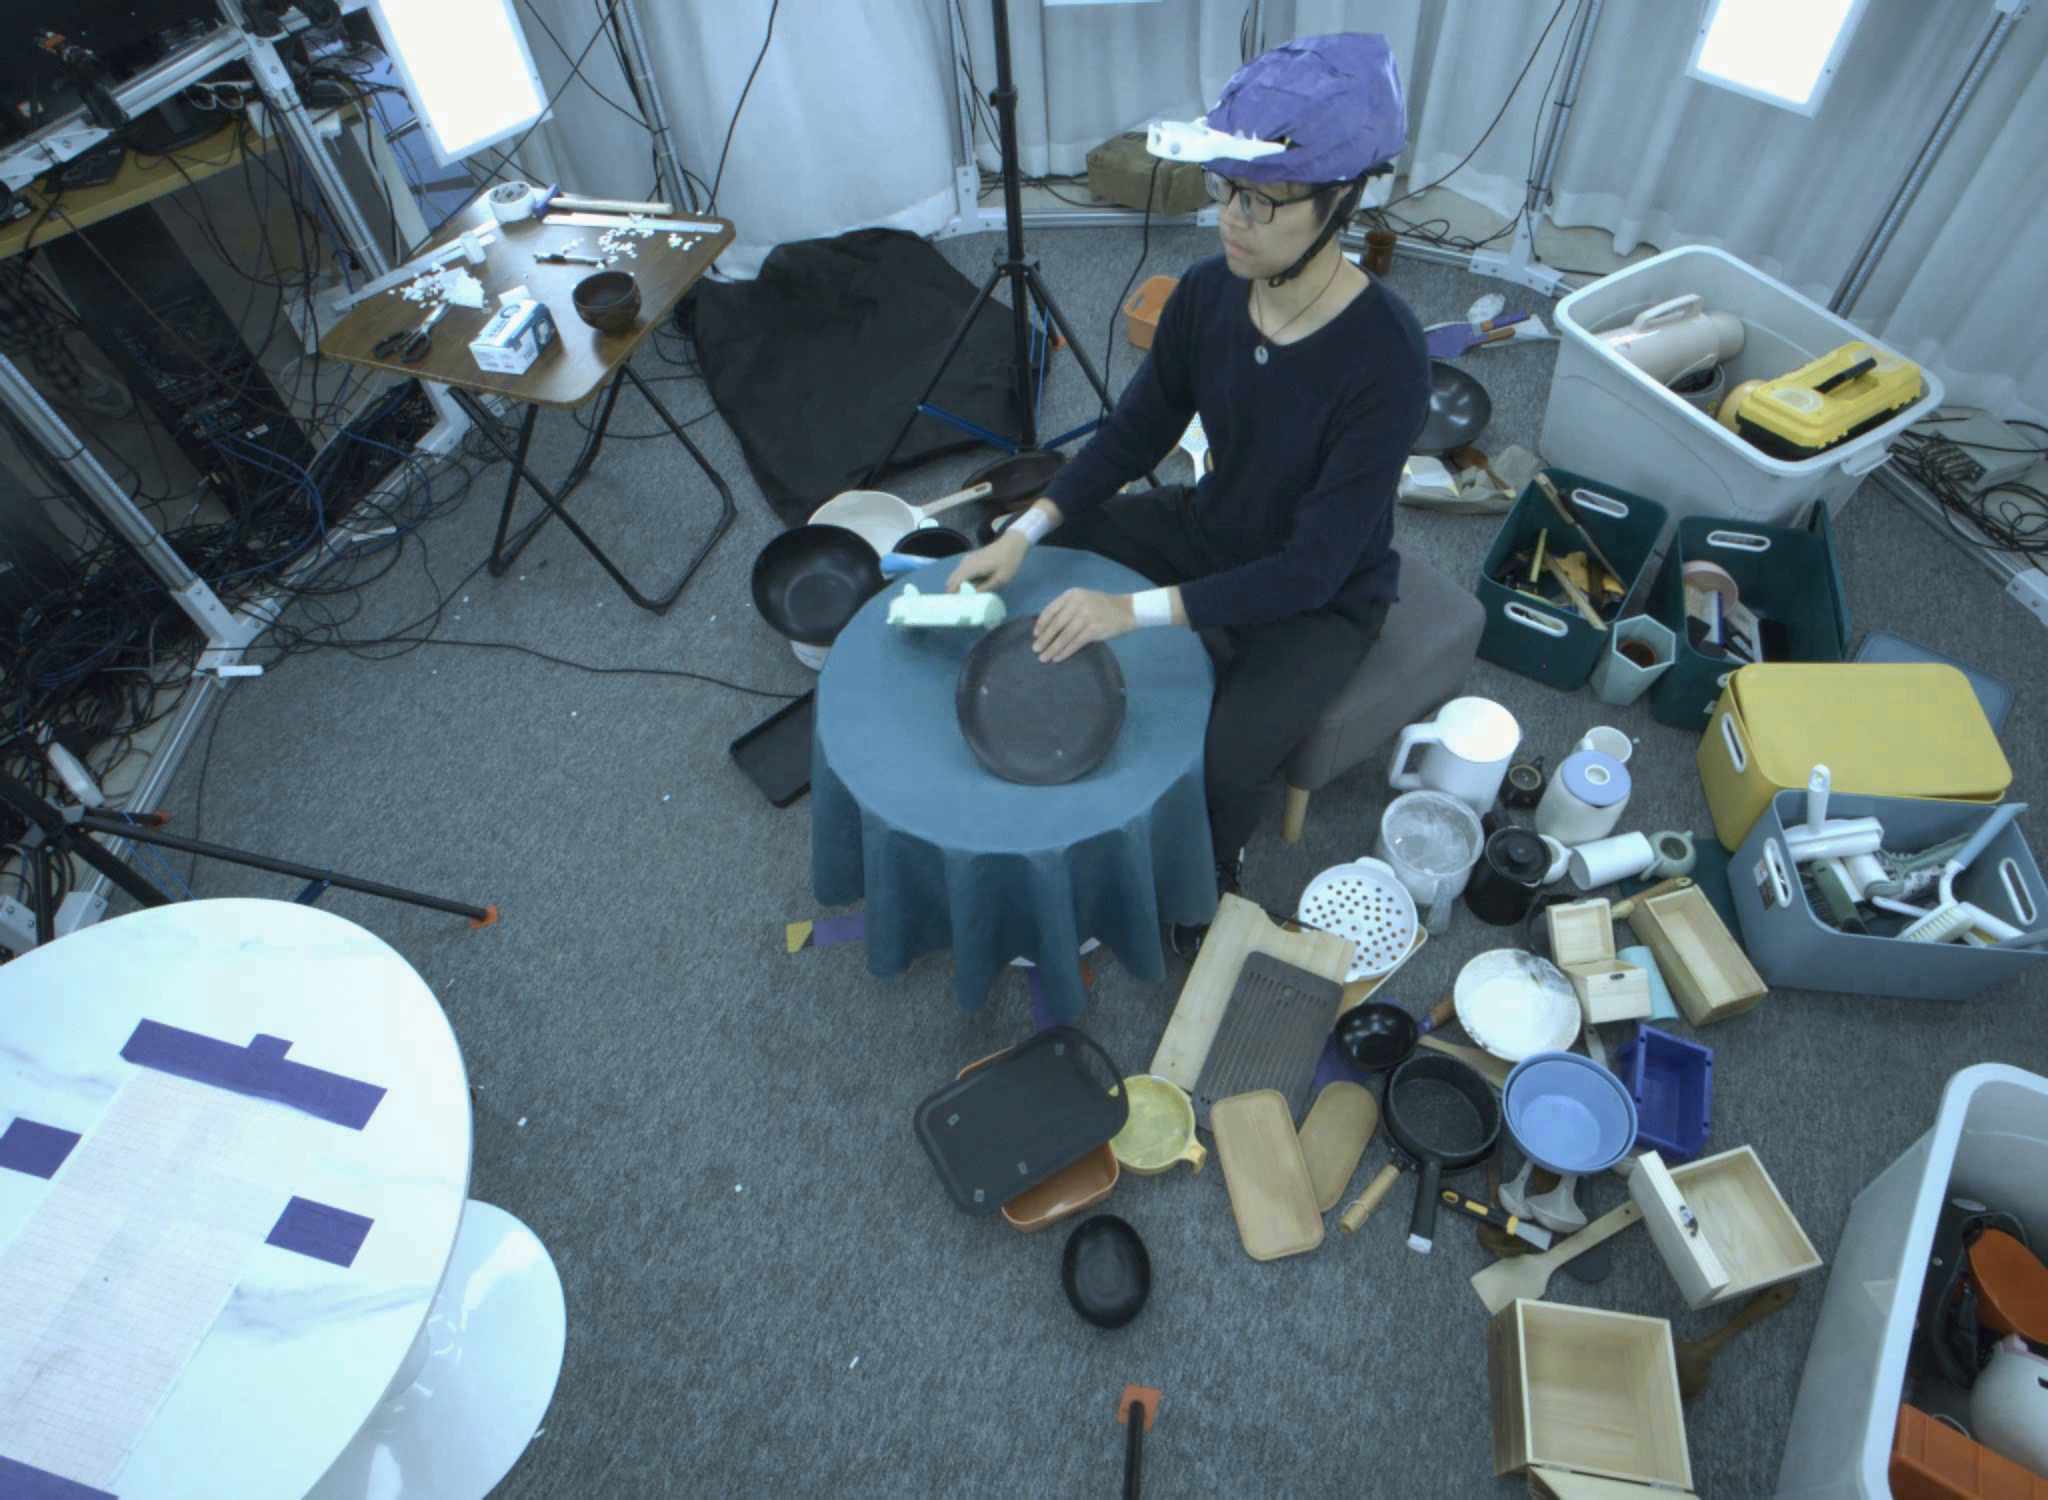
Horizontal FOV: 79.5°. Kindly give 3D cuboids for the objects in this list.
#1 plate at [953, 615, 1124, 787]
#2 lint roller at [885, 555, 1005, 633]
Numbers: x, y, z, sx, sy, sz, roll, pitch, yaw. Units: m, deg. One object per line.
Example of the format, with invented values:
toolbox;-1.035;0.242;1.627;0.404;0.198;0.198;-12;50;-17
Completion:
plate;0.021;-0.069;1.751;0.244;0.023;0.244;0;93;3
lint roller;-0.101;-0.256;1.882;0.194;0.084;0.183;8;55;35
